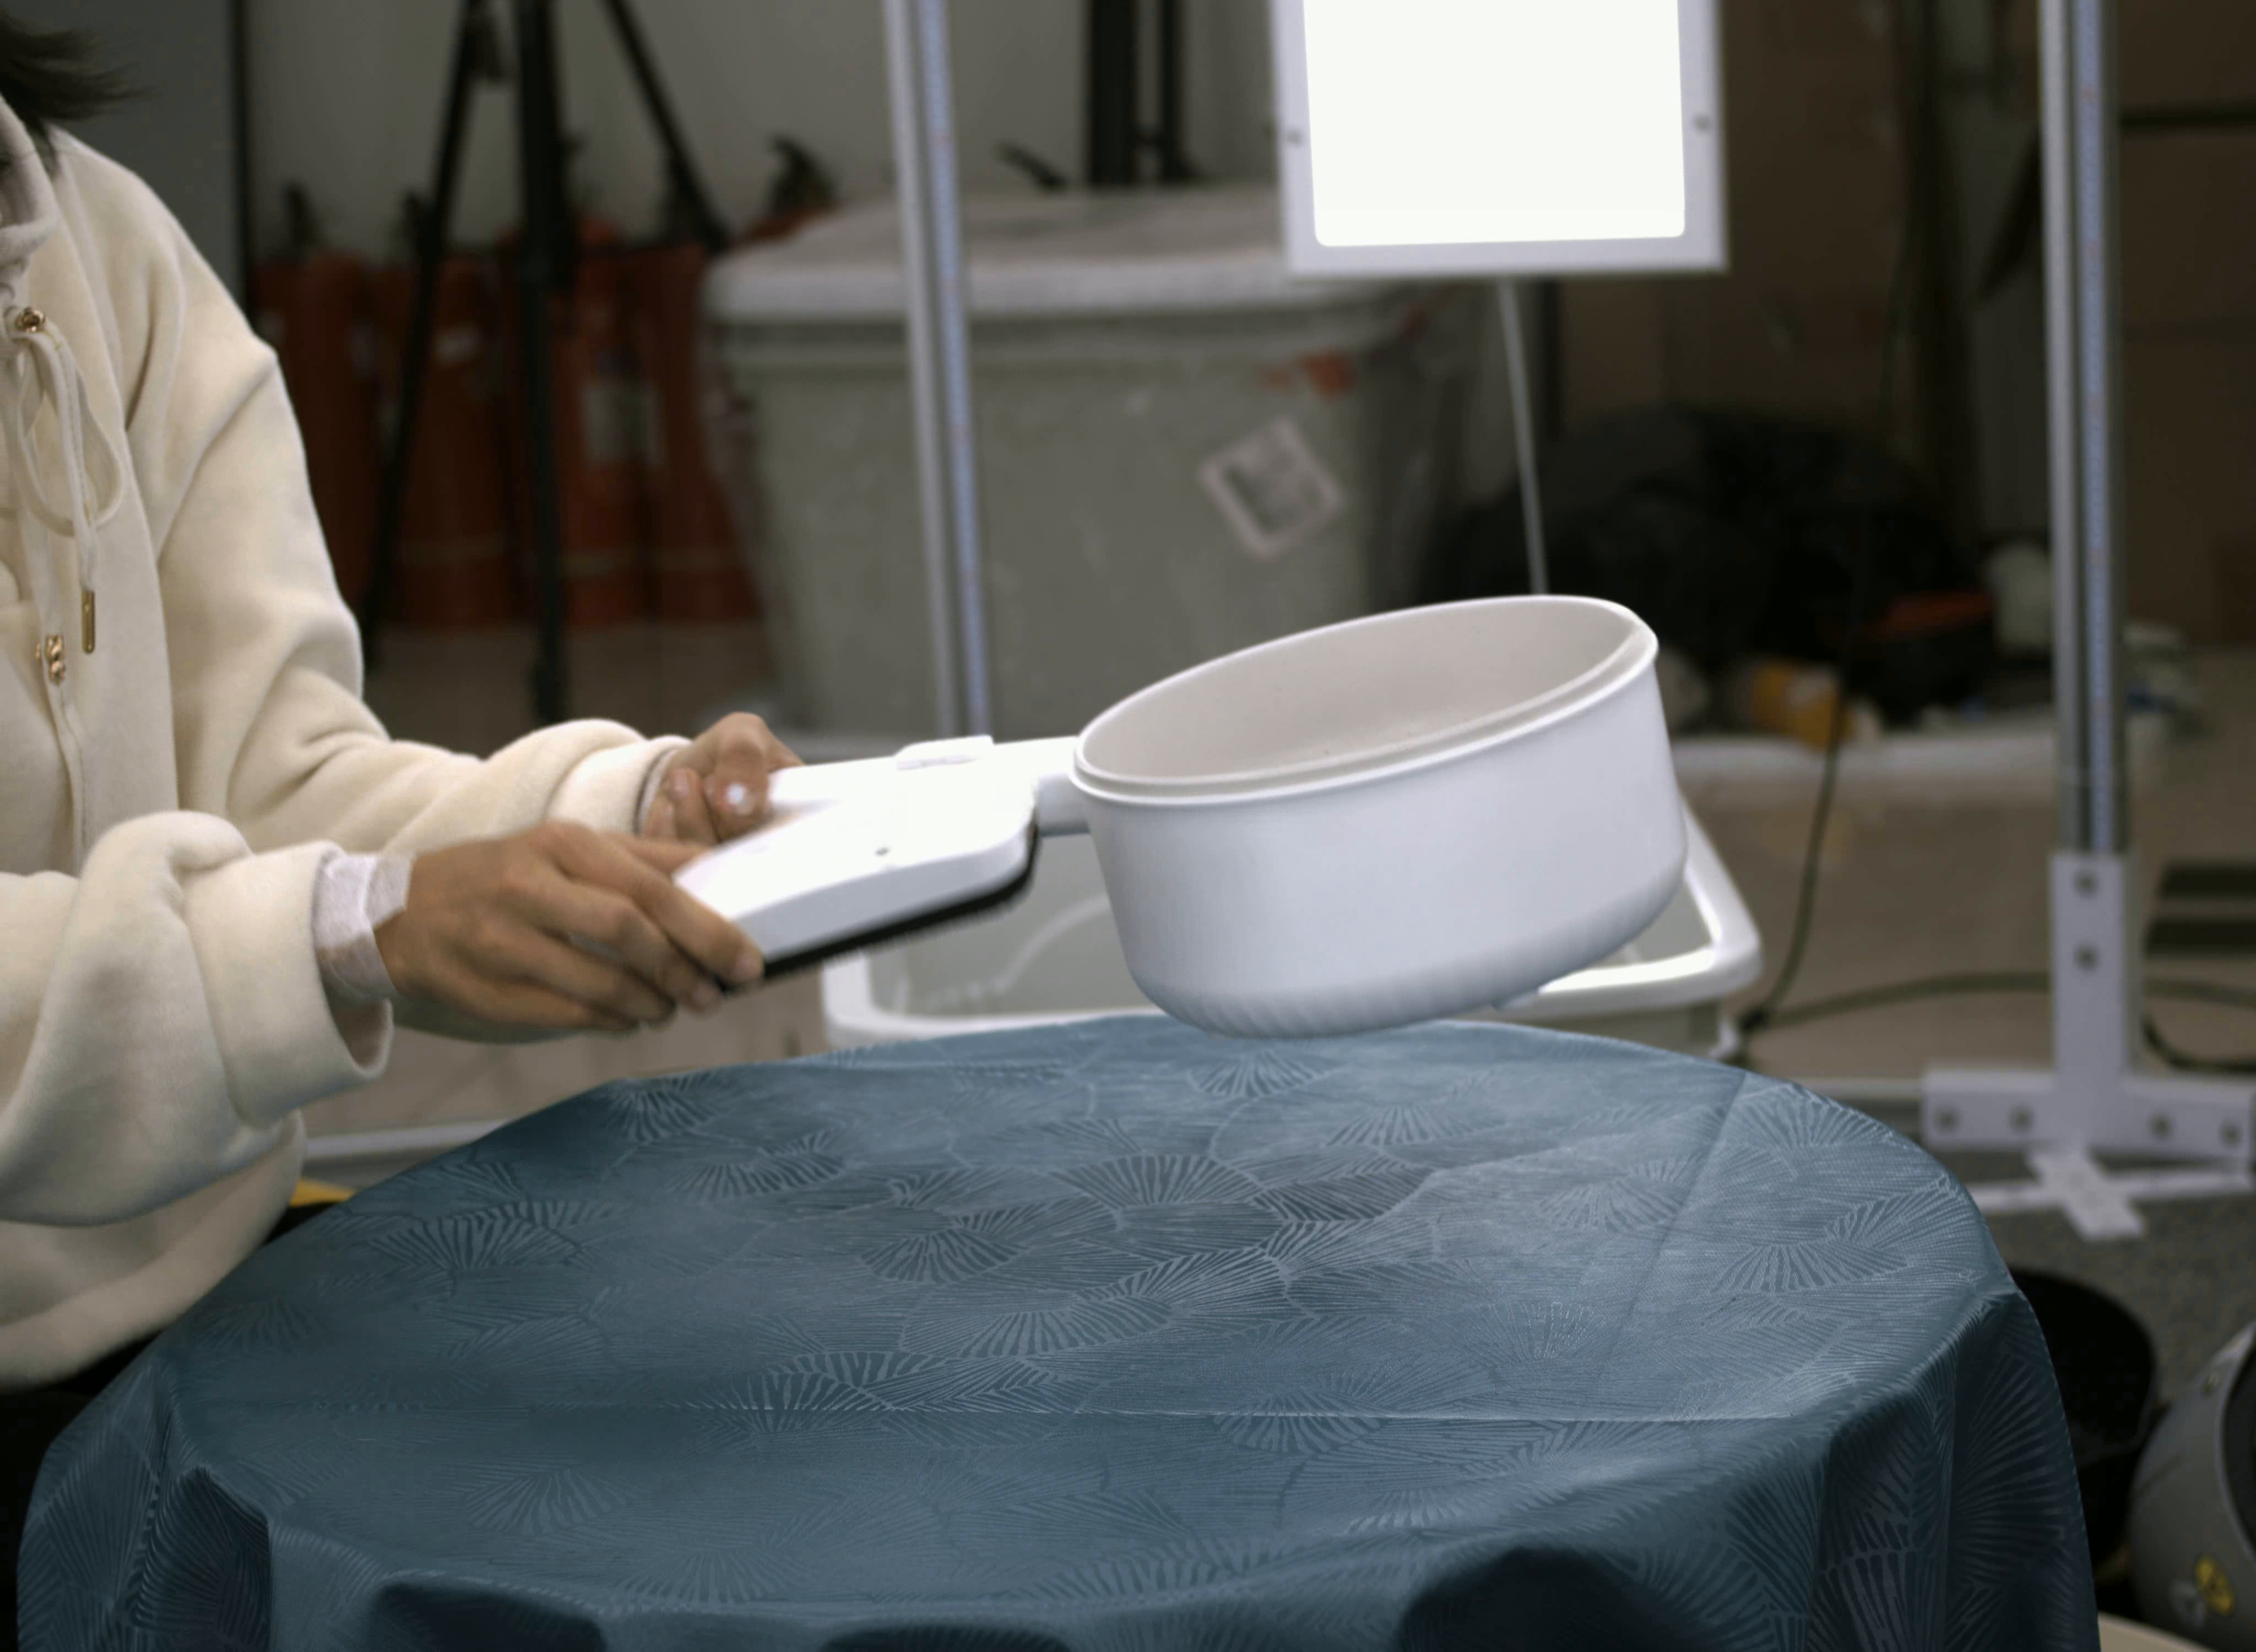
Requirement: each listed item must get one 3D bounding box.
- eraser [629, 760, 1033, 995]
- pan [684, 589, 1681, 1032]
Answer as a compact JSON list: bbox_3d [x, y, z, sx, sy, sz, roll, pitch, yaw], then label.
[{"bbox_3d":[-0.095,0.013,1.761,0.132,0.034,0.063,-18,20,15],"label":"eraser"},{"bbox_3d":[0.017,0.008,1.874,0.361,0.102,0.197,-10,13,27],"label":"pan"}]
